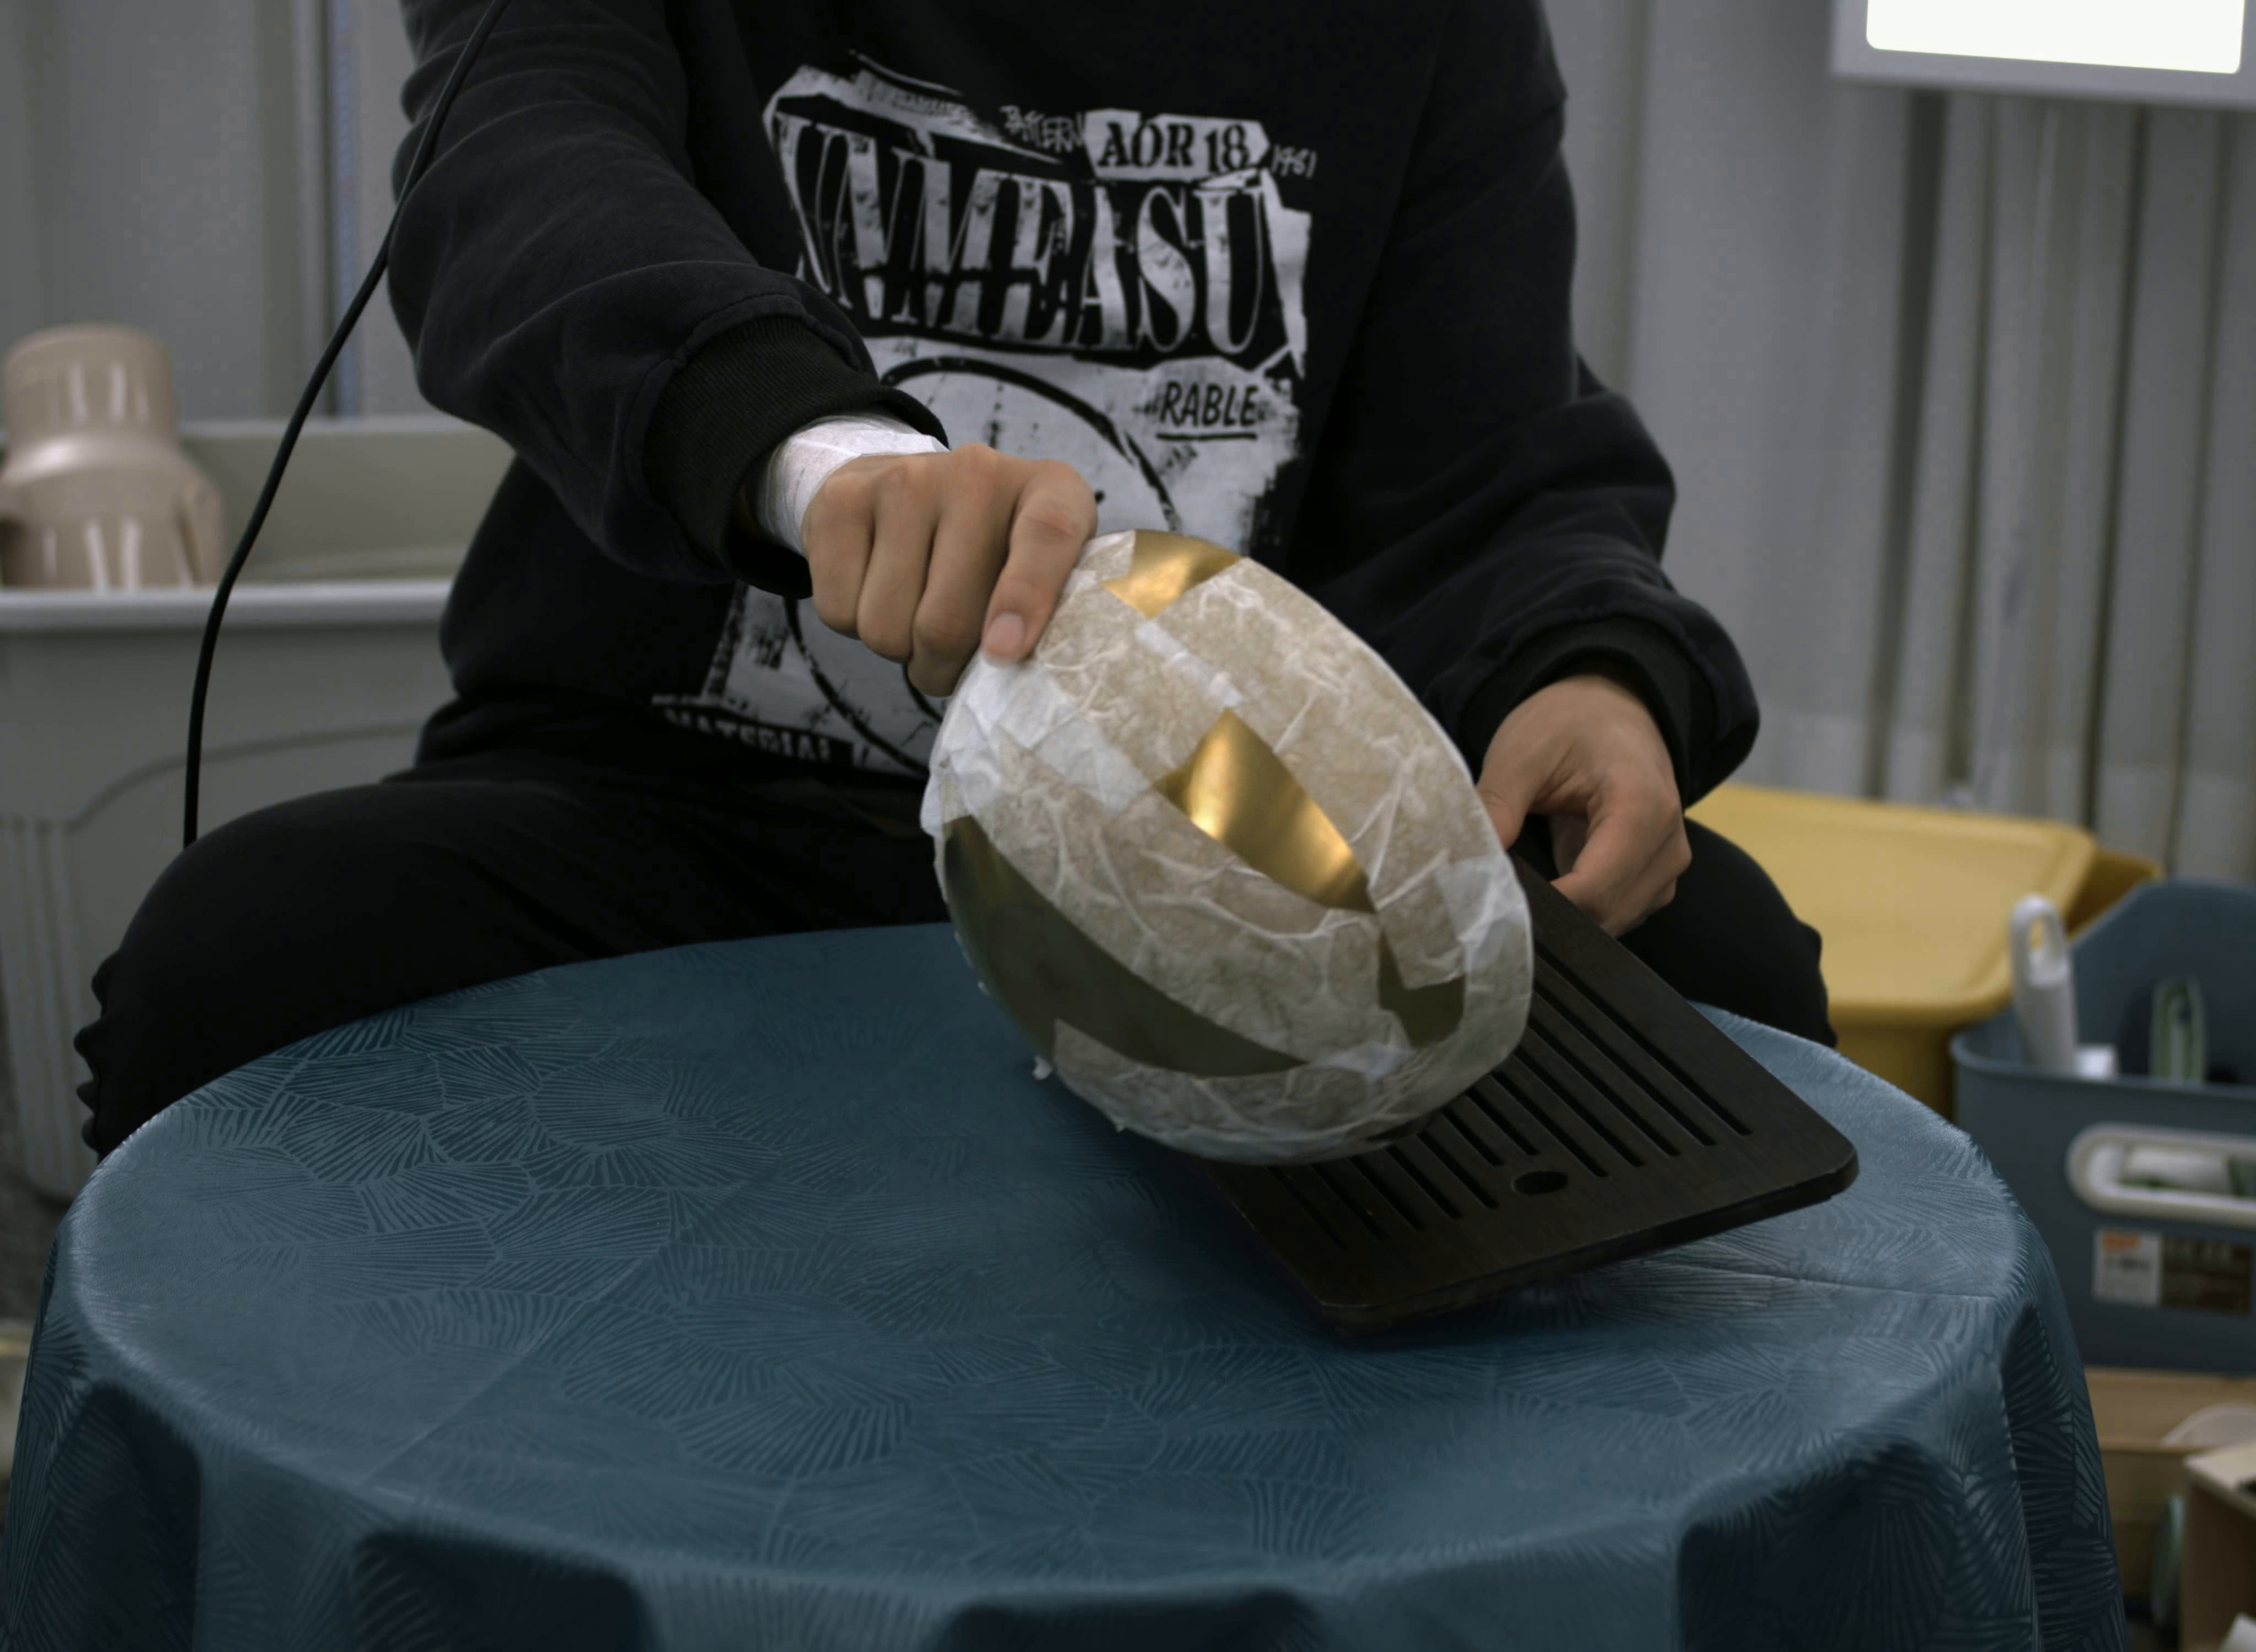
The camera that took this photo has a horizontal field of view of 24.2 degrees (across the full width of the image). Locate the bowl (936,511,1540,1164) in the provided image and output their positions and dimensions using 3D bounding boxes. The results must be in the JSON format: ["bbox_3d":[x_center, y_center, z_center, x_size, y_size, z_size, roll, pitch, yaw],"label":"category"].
[{"bbox_3d":[0.013,0.024,1.520,0.212,0.217,0.094,17,47,44],"label":"bowl"}]

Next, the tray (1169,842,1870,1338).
[{"bbox_3d":[0.094,0.077,1.644,0.170,0.019,0.302,-14,23,-14],"label":"tray"}]
